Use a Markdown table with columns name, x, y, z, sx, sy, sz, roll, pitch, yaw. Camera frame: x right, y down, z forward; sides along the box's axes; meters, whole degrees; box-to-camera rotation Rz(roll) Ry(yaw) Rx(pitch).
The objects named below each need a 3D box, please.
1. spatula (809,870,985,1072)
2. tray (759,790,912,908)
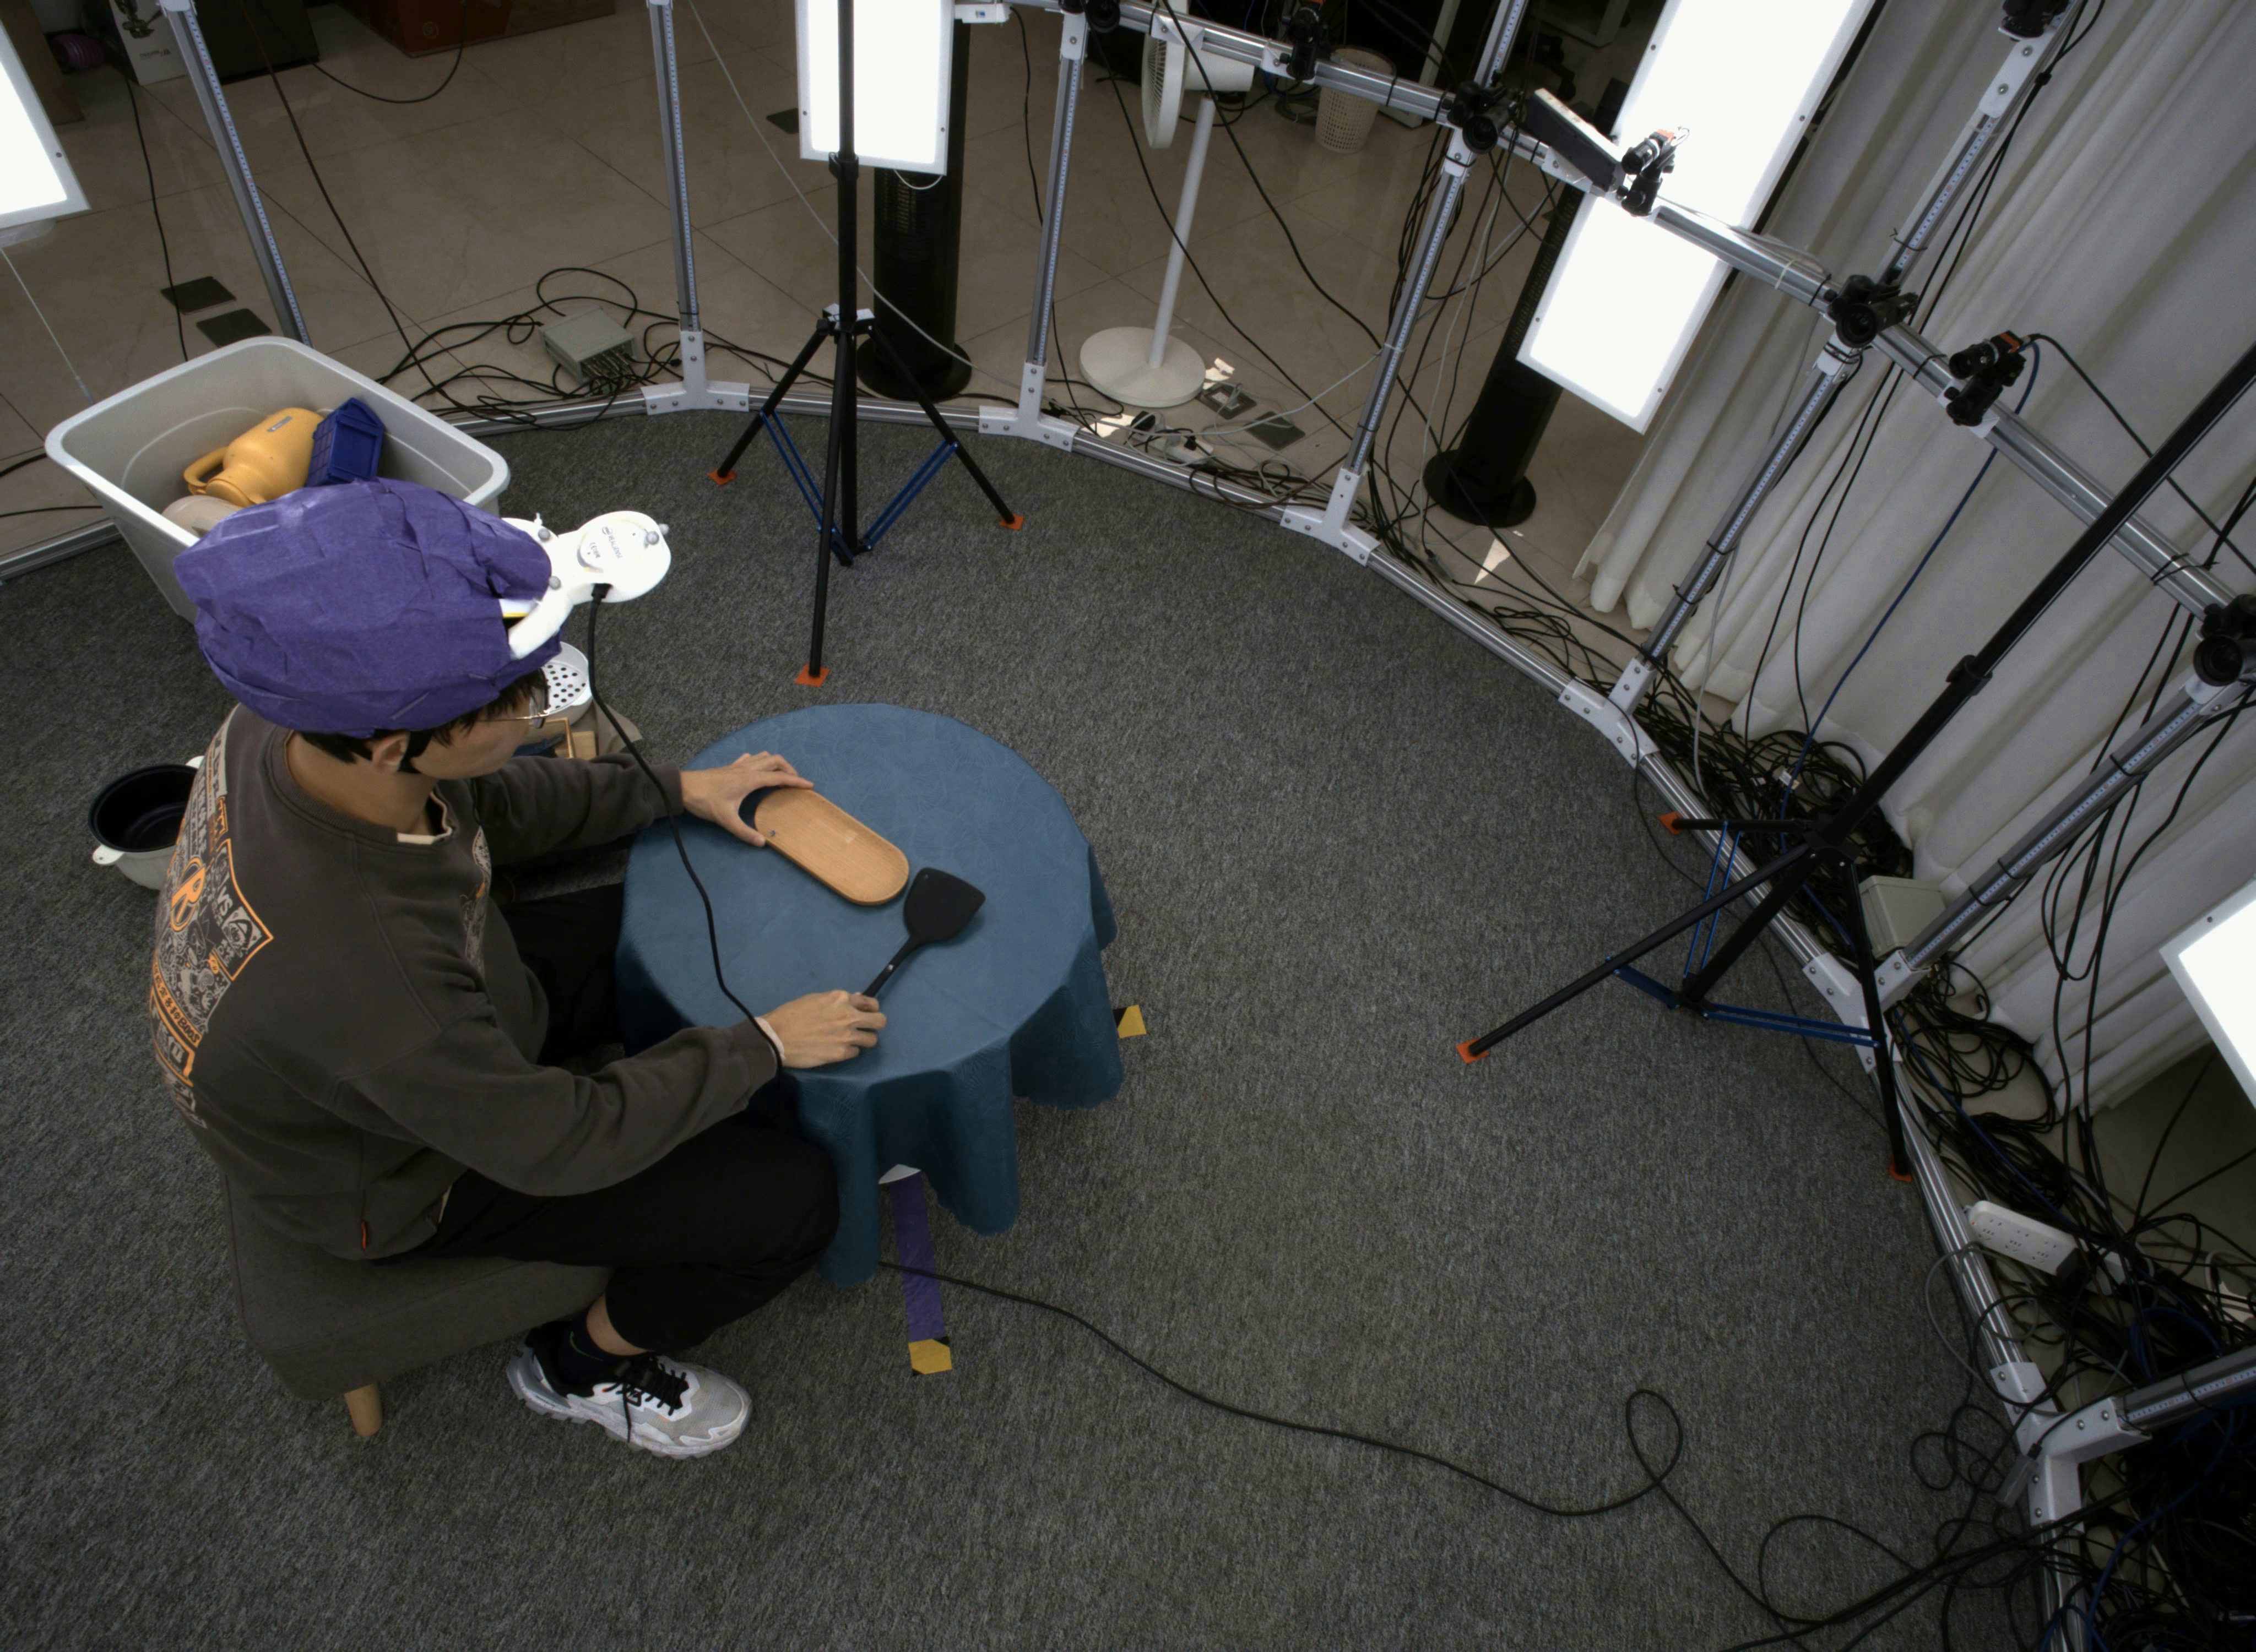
| name | x | y | z | sx | sy | sz | roll | pitch | yaw |
| --- | --- | --- | --- | --- | --- | --- | --- | --- | --- |
| spatula | -0.295 | 0.176 | 1.605 | 0.097 | 0.041 | 0.324 | 25 | 45 | 12 |
| tray | -0.388 | 0.028 | 1.716 | 0.227 | 0.021 | 0.101 | 33 | 55 | 10 |
